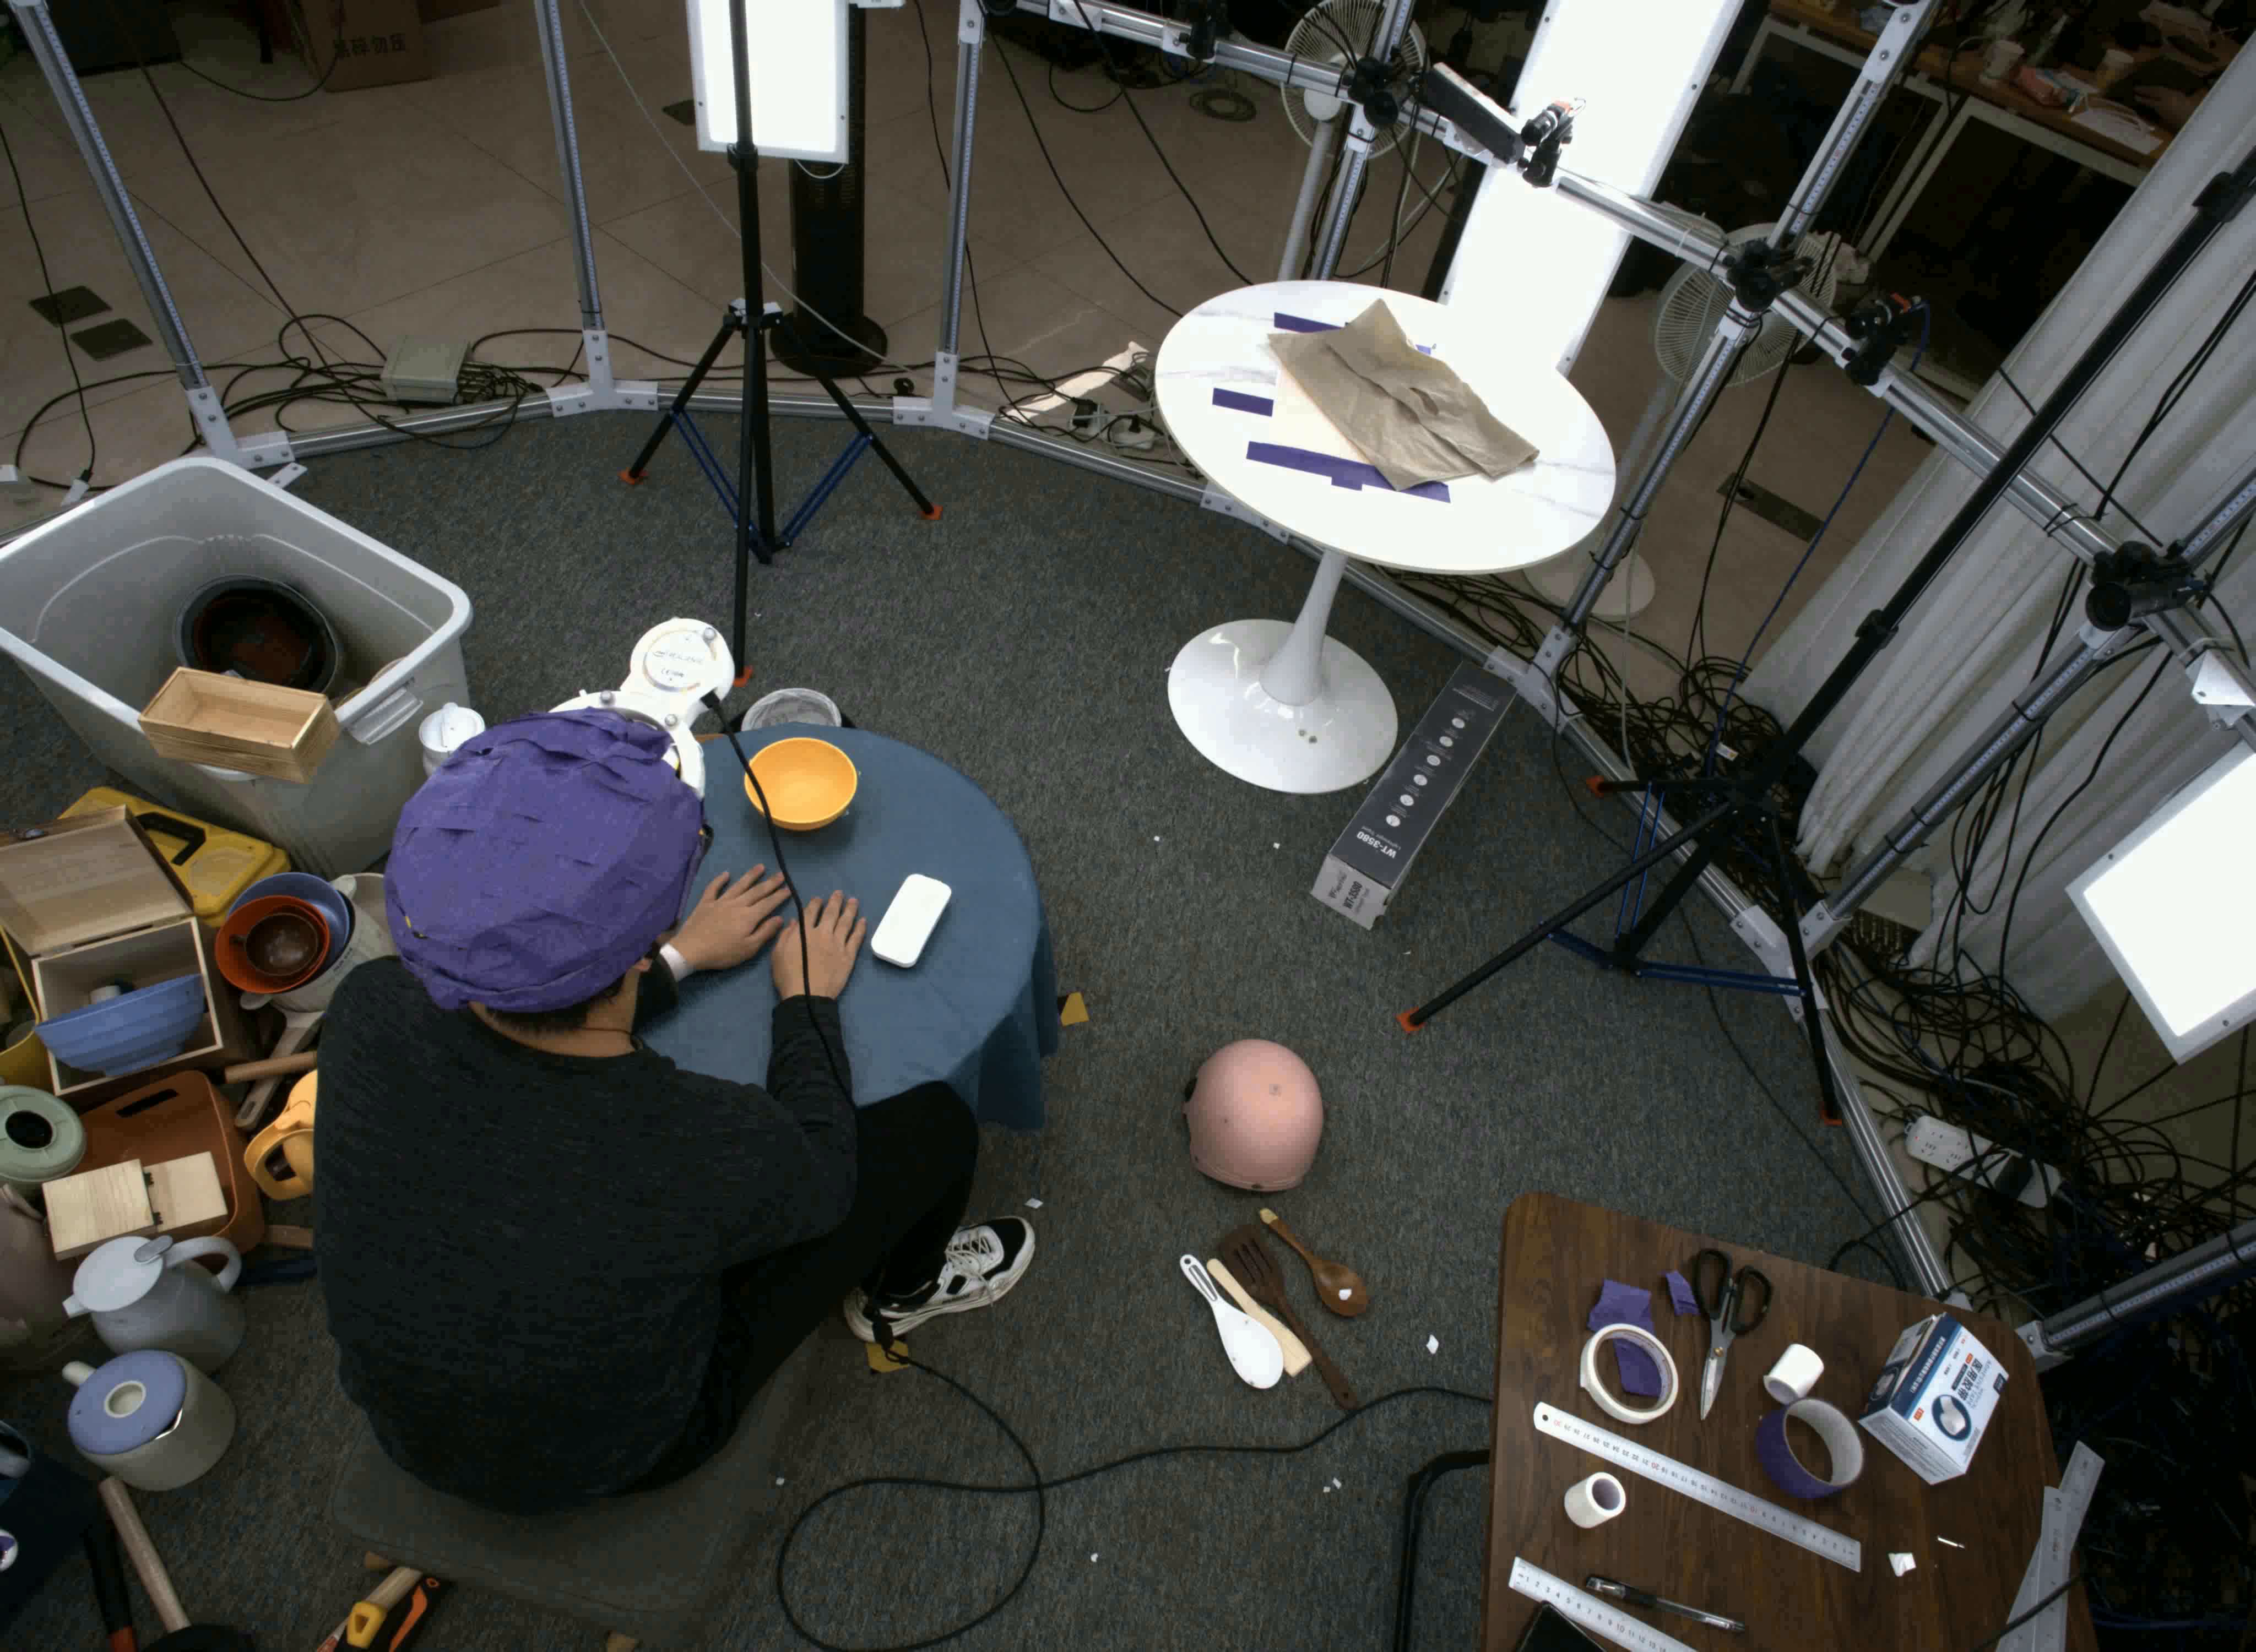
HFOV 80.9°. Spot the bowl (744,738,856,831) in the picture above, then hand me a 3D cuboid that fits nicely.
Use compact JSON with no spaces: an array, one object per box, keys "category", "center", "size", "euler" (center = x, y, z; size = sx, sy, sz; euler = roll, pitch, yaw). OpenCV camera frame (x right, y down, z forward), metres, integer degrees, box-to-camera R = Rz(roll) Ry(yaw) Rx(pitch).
[{"category":"bowl","center":[-0.431,-0.044,1.712],"size":[0.145,0.061,0.143],"euler":[7,52,-7]}]

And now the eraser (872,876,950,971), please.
[{"category":"eraser","center":[-0.275,0.119,1.649],"size":[0.062,0.035,0.130],"euler":[21,51,4]}]
